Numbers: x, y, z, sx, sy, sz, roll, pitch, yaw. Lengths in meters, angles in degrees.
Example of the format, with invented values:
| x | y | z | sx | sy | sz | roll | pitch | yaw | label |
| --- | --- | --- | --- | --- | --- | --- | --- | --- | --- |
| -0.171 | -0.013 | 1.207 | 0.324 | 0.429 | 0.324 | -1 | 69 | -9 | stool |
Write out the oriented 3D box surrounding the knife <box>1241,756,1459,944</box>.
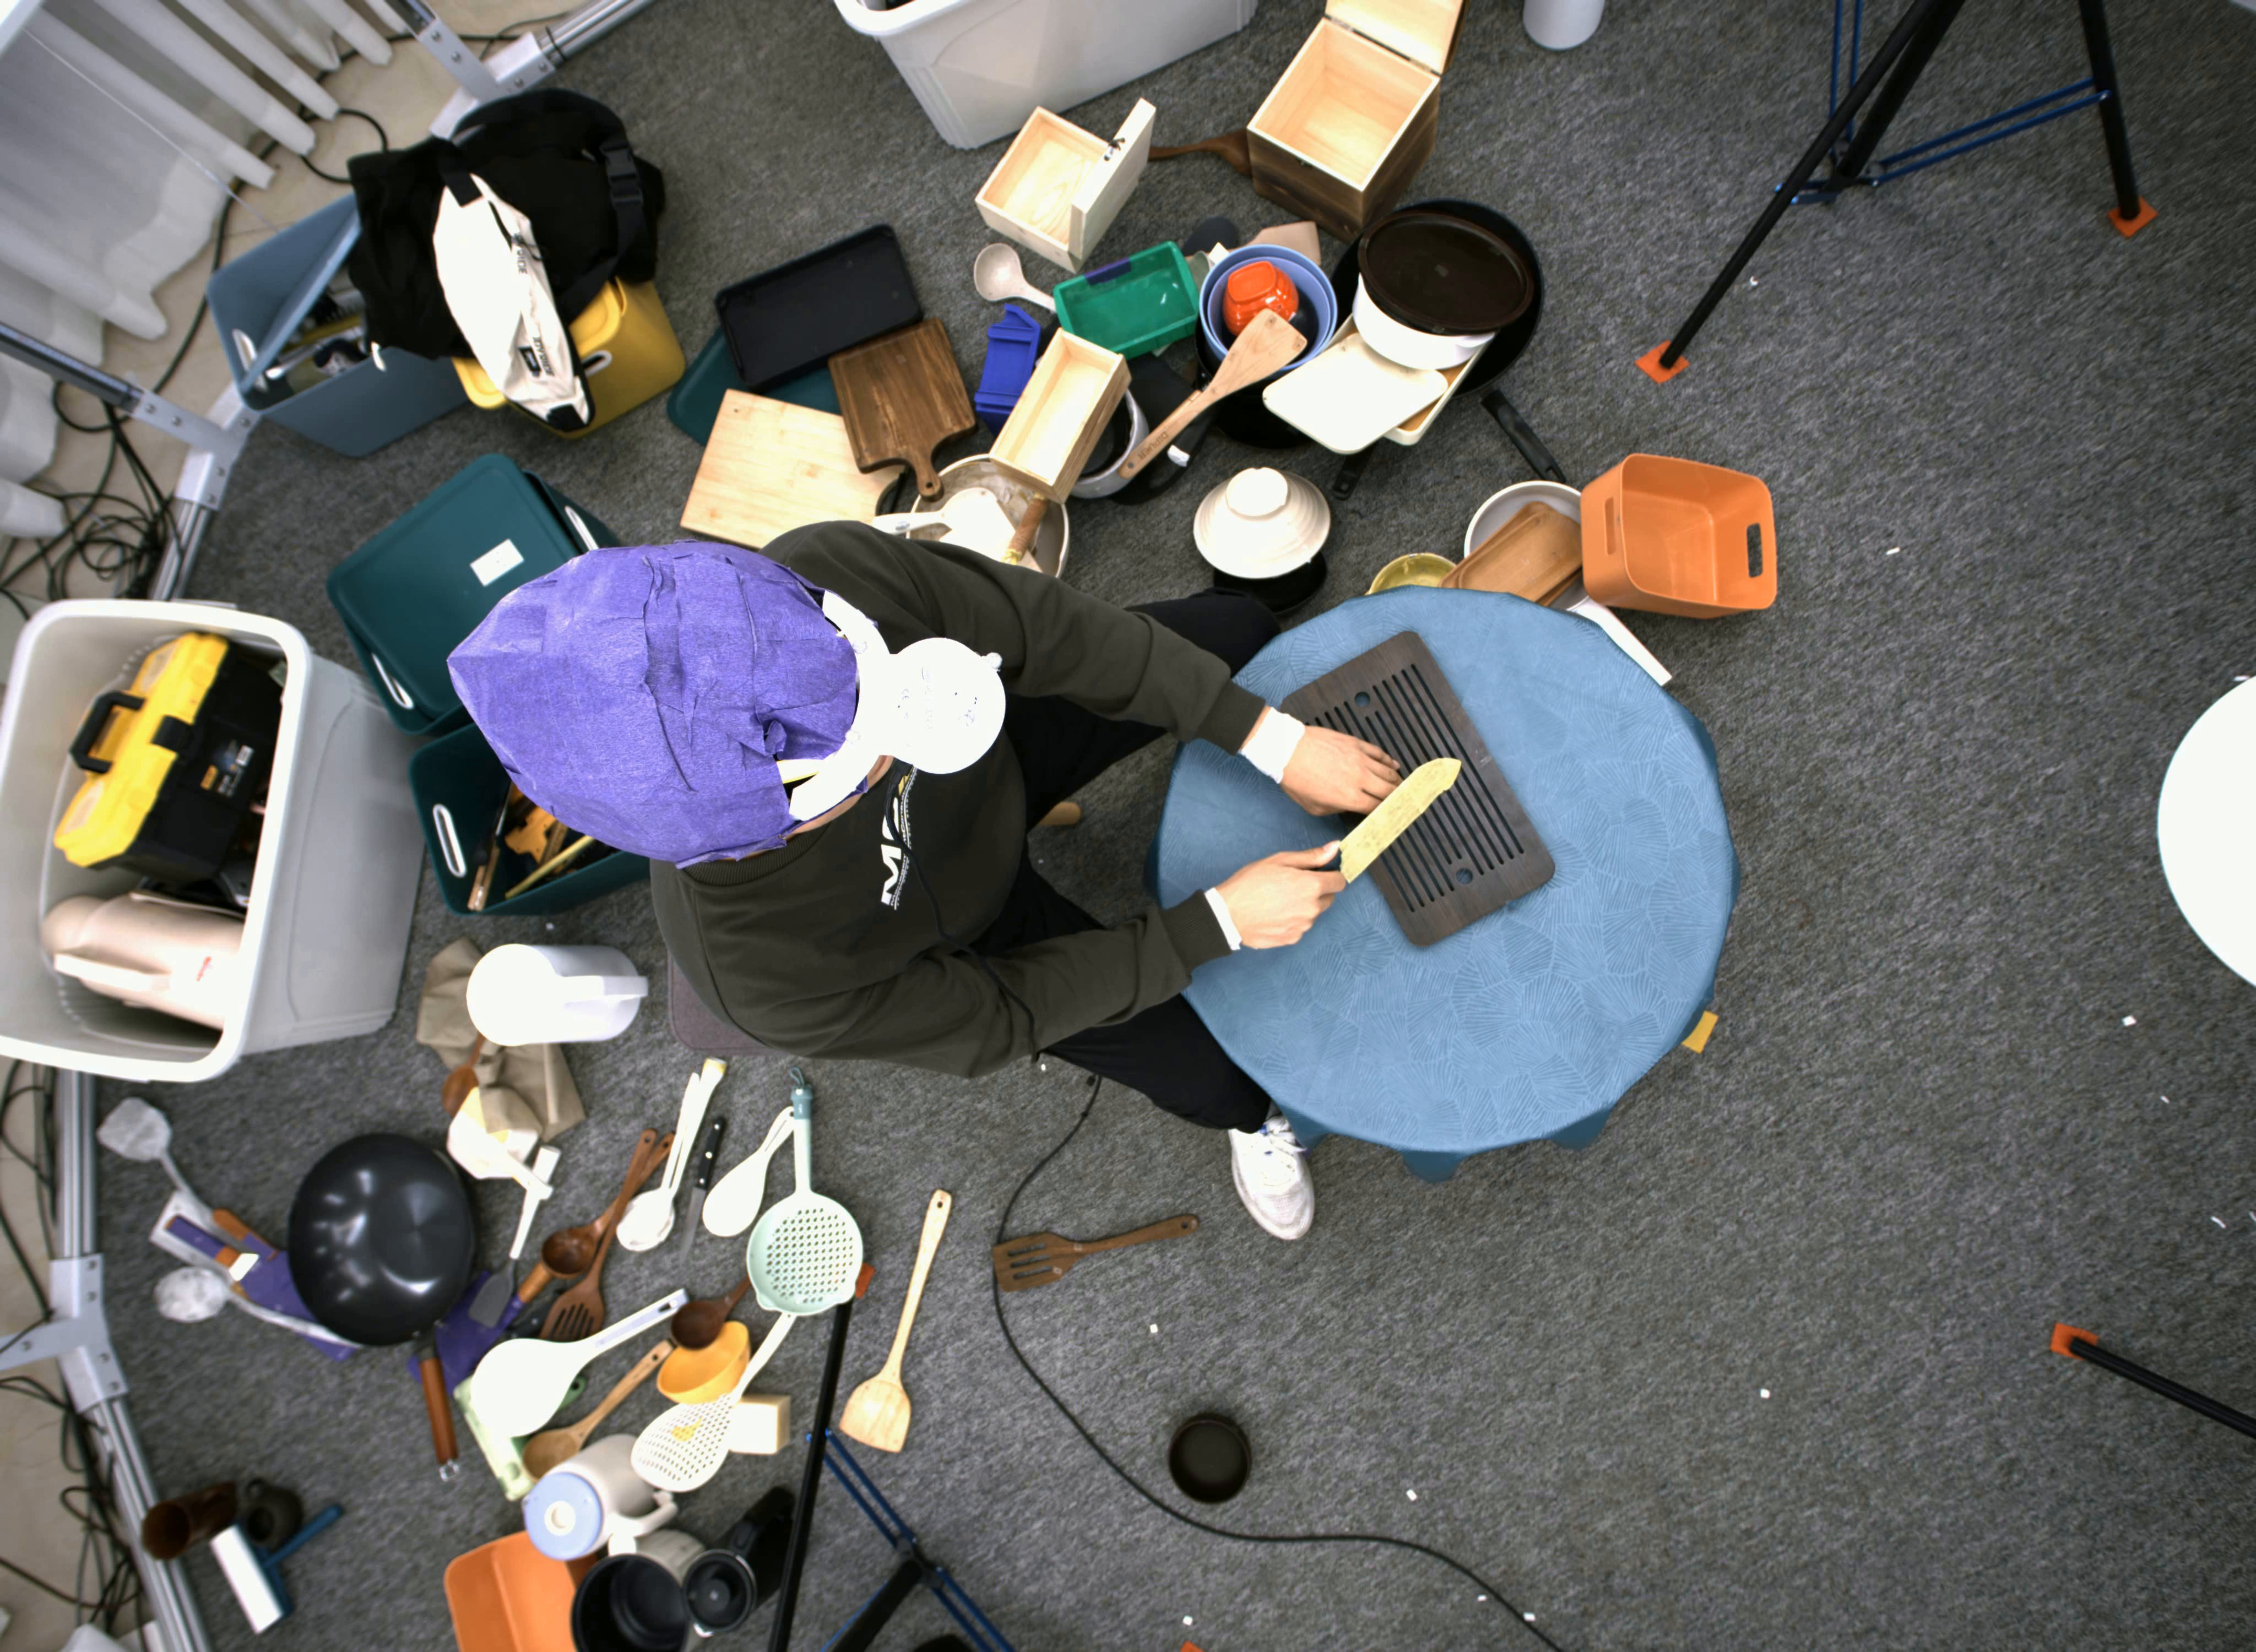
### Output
| x | y | z | sx | sy | sz | roll | pitch | yaw | label |
| --- | --- | --- | --- | --- | --- | --- | --- | --- | --- |
| 0.231 | 0.024 | 1.414 | 0.290 | 0.082 | 0.027 | -41 | 51 | 3 | knife |

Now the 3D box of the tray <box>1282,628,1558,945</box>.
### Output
| x | y | z | sx | sy | sz | roll | pitch | yaw | label |
| --- | --- | --- | --- | --- | --- | --- | --- | --- | --- |
| 0.305 | -0.045 | 1.451 | 0.171 | 0.018 | 0.304 | -29 | 82 | 8 | tray |
